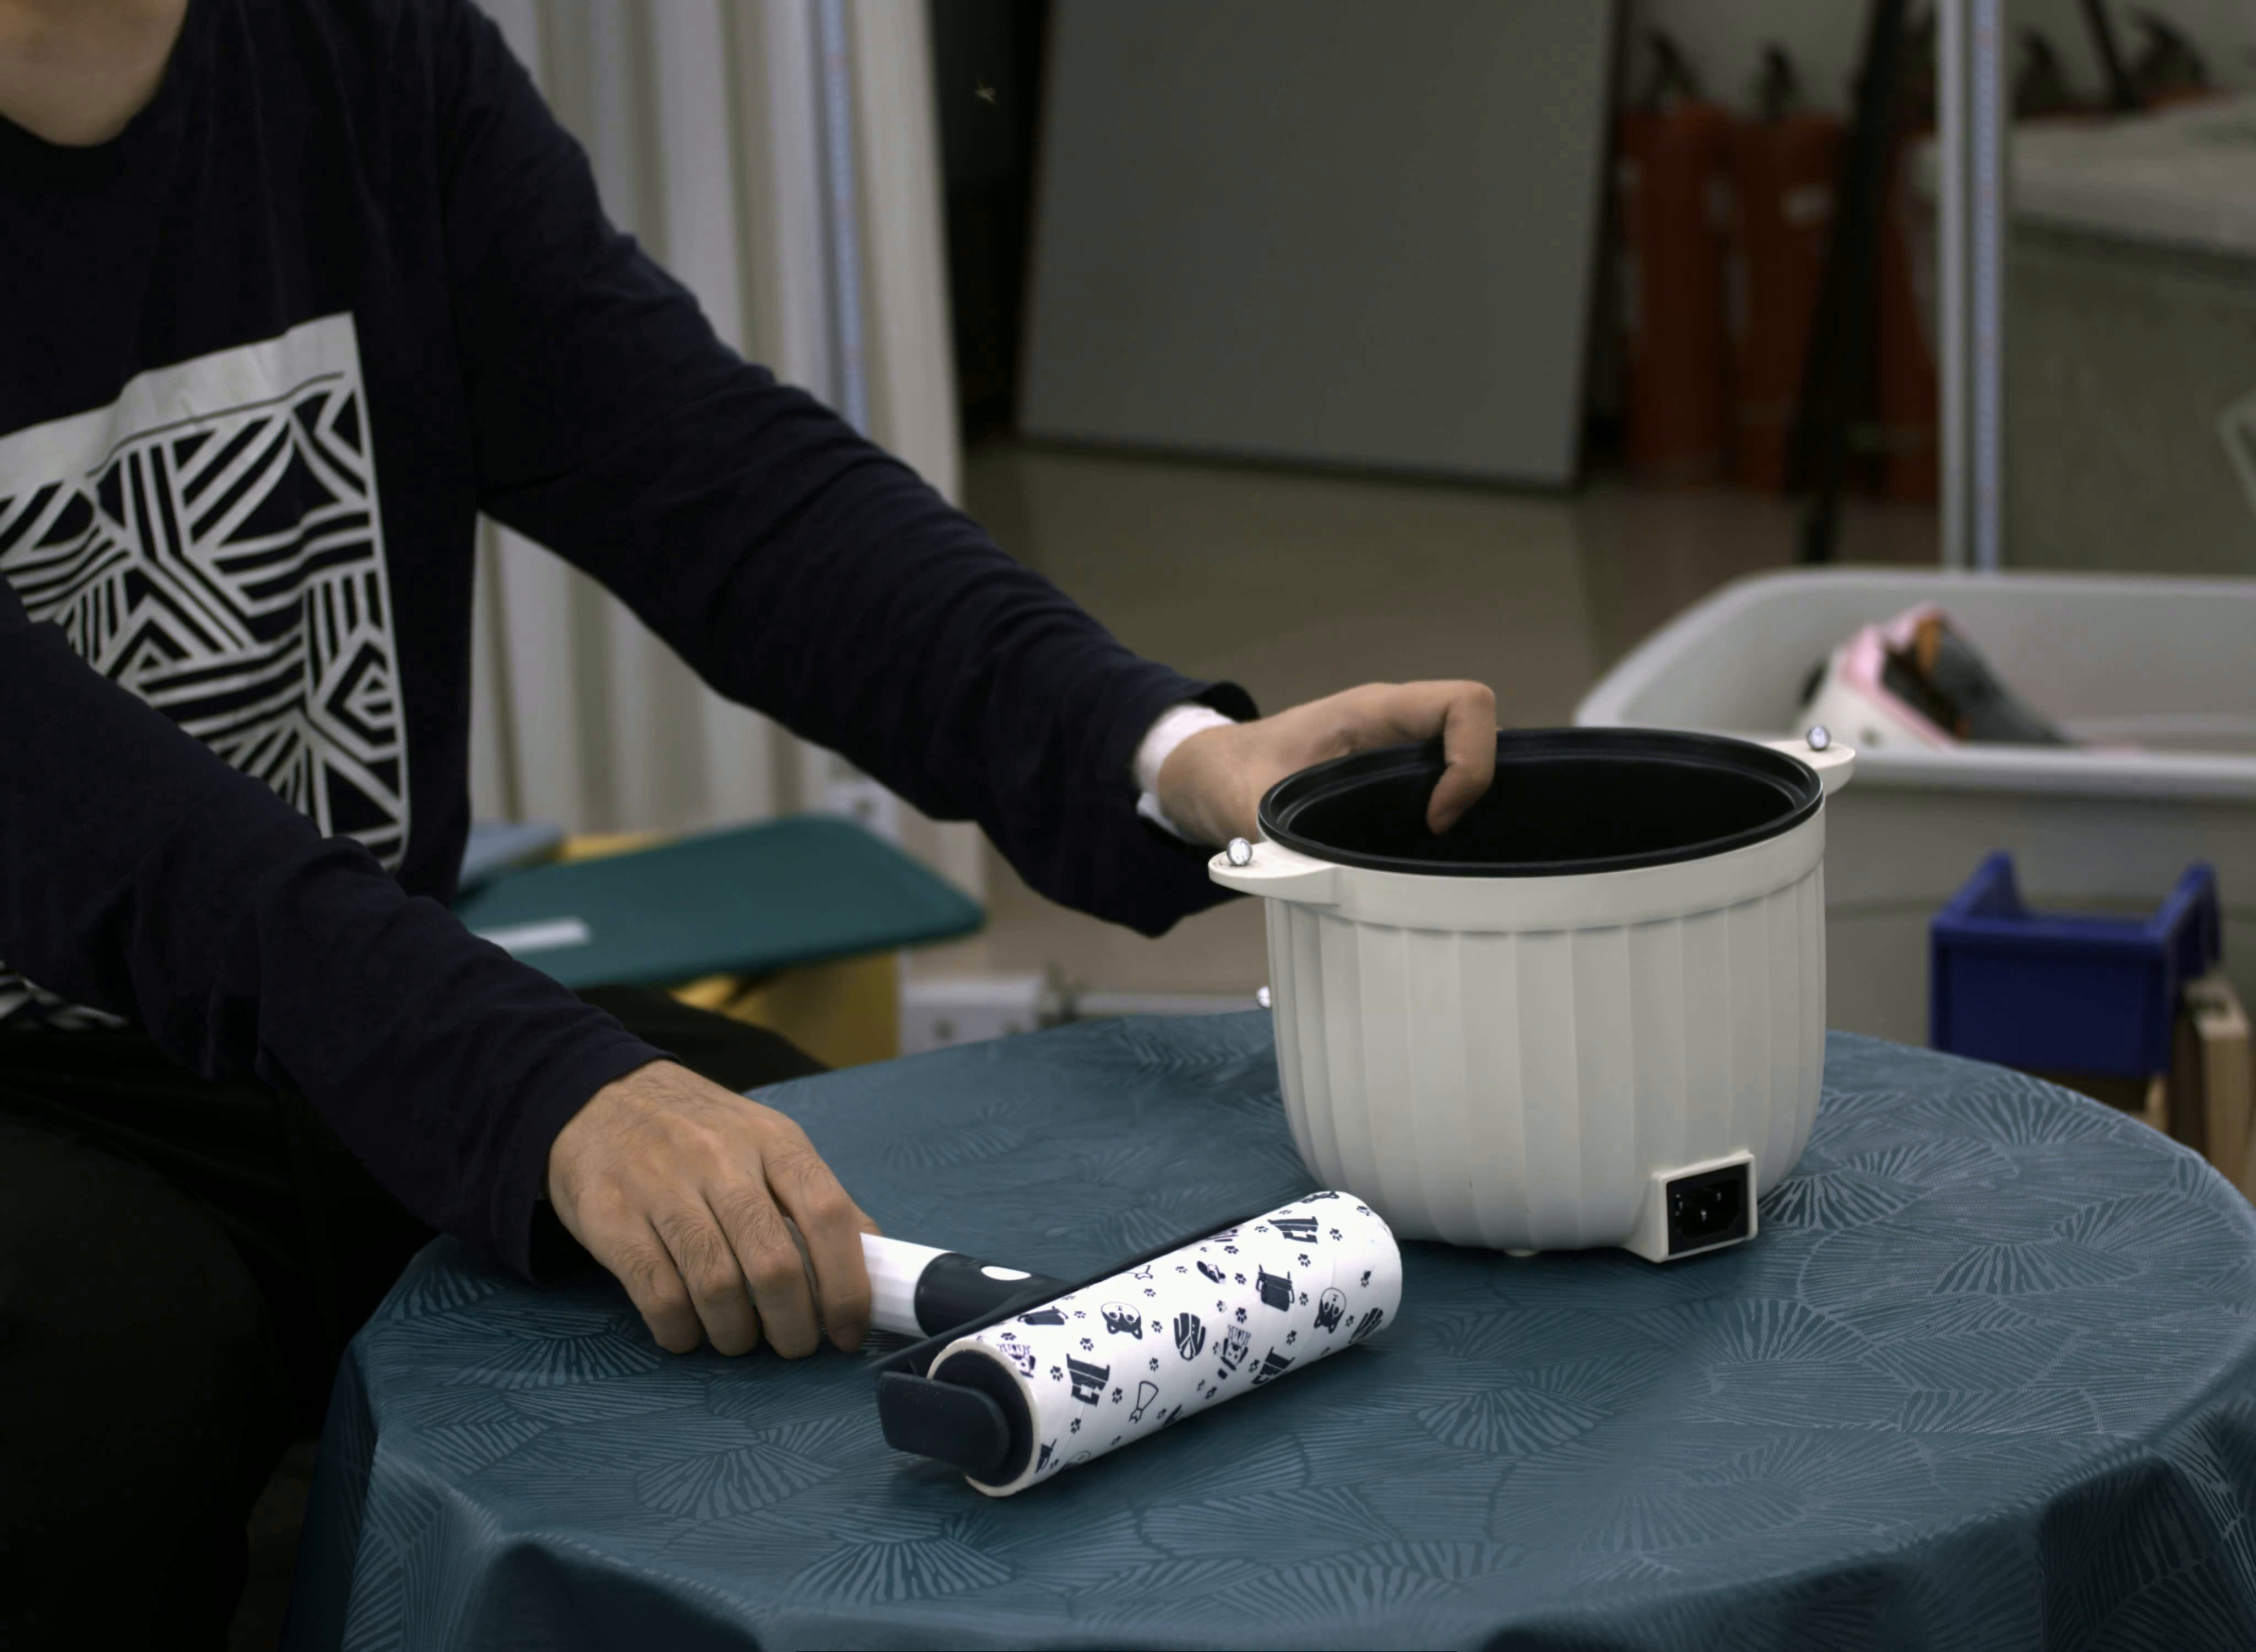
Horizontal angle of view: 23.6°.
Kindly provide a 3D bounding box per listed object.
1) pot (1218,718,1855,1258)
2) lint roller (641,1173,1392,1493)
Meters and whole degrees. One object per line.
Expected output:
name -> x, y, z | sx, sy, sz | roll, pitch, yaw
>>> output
pot -> 0.130, 0.050, 1.726 | 0.235, 0.144, 0.192 | -8, 17, -28
lint roller -> -0.063, 0.141, 1.628 | 0.249, 0.051, 0.173 | 4, 17, 43
